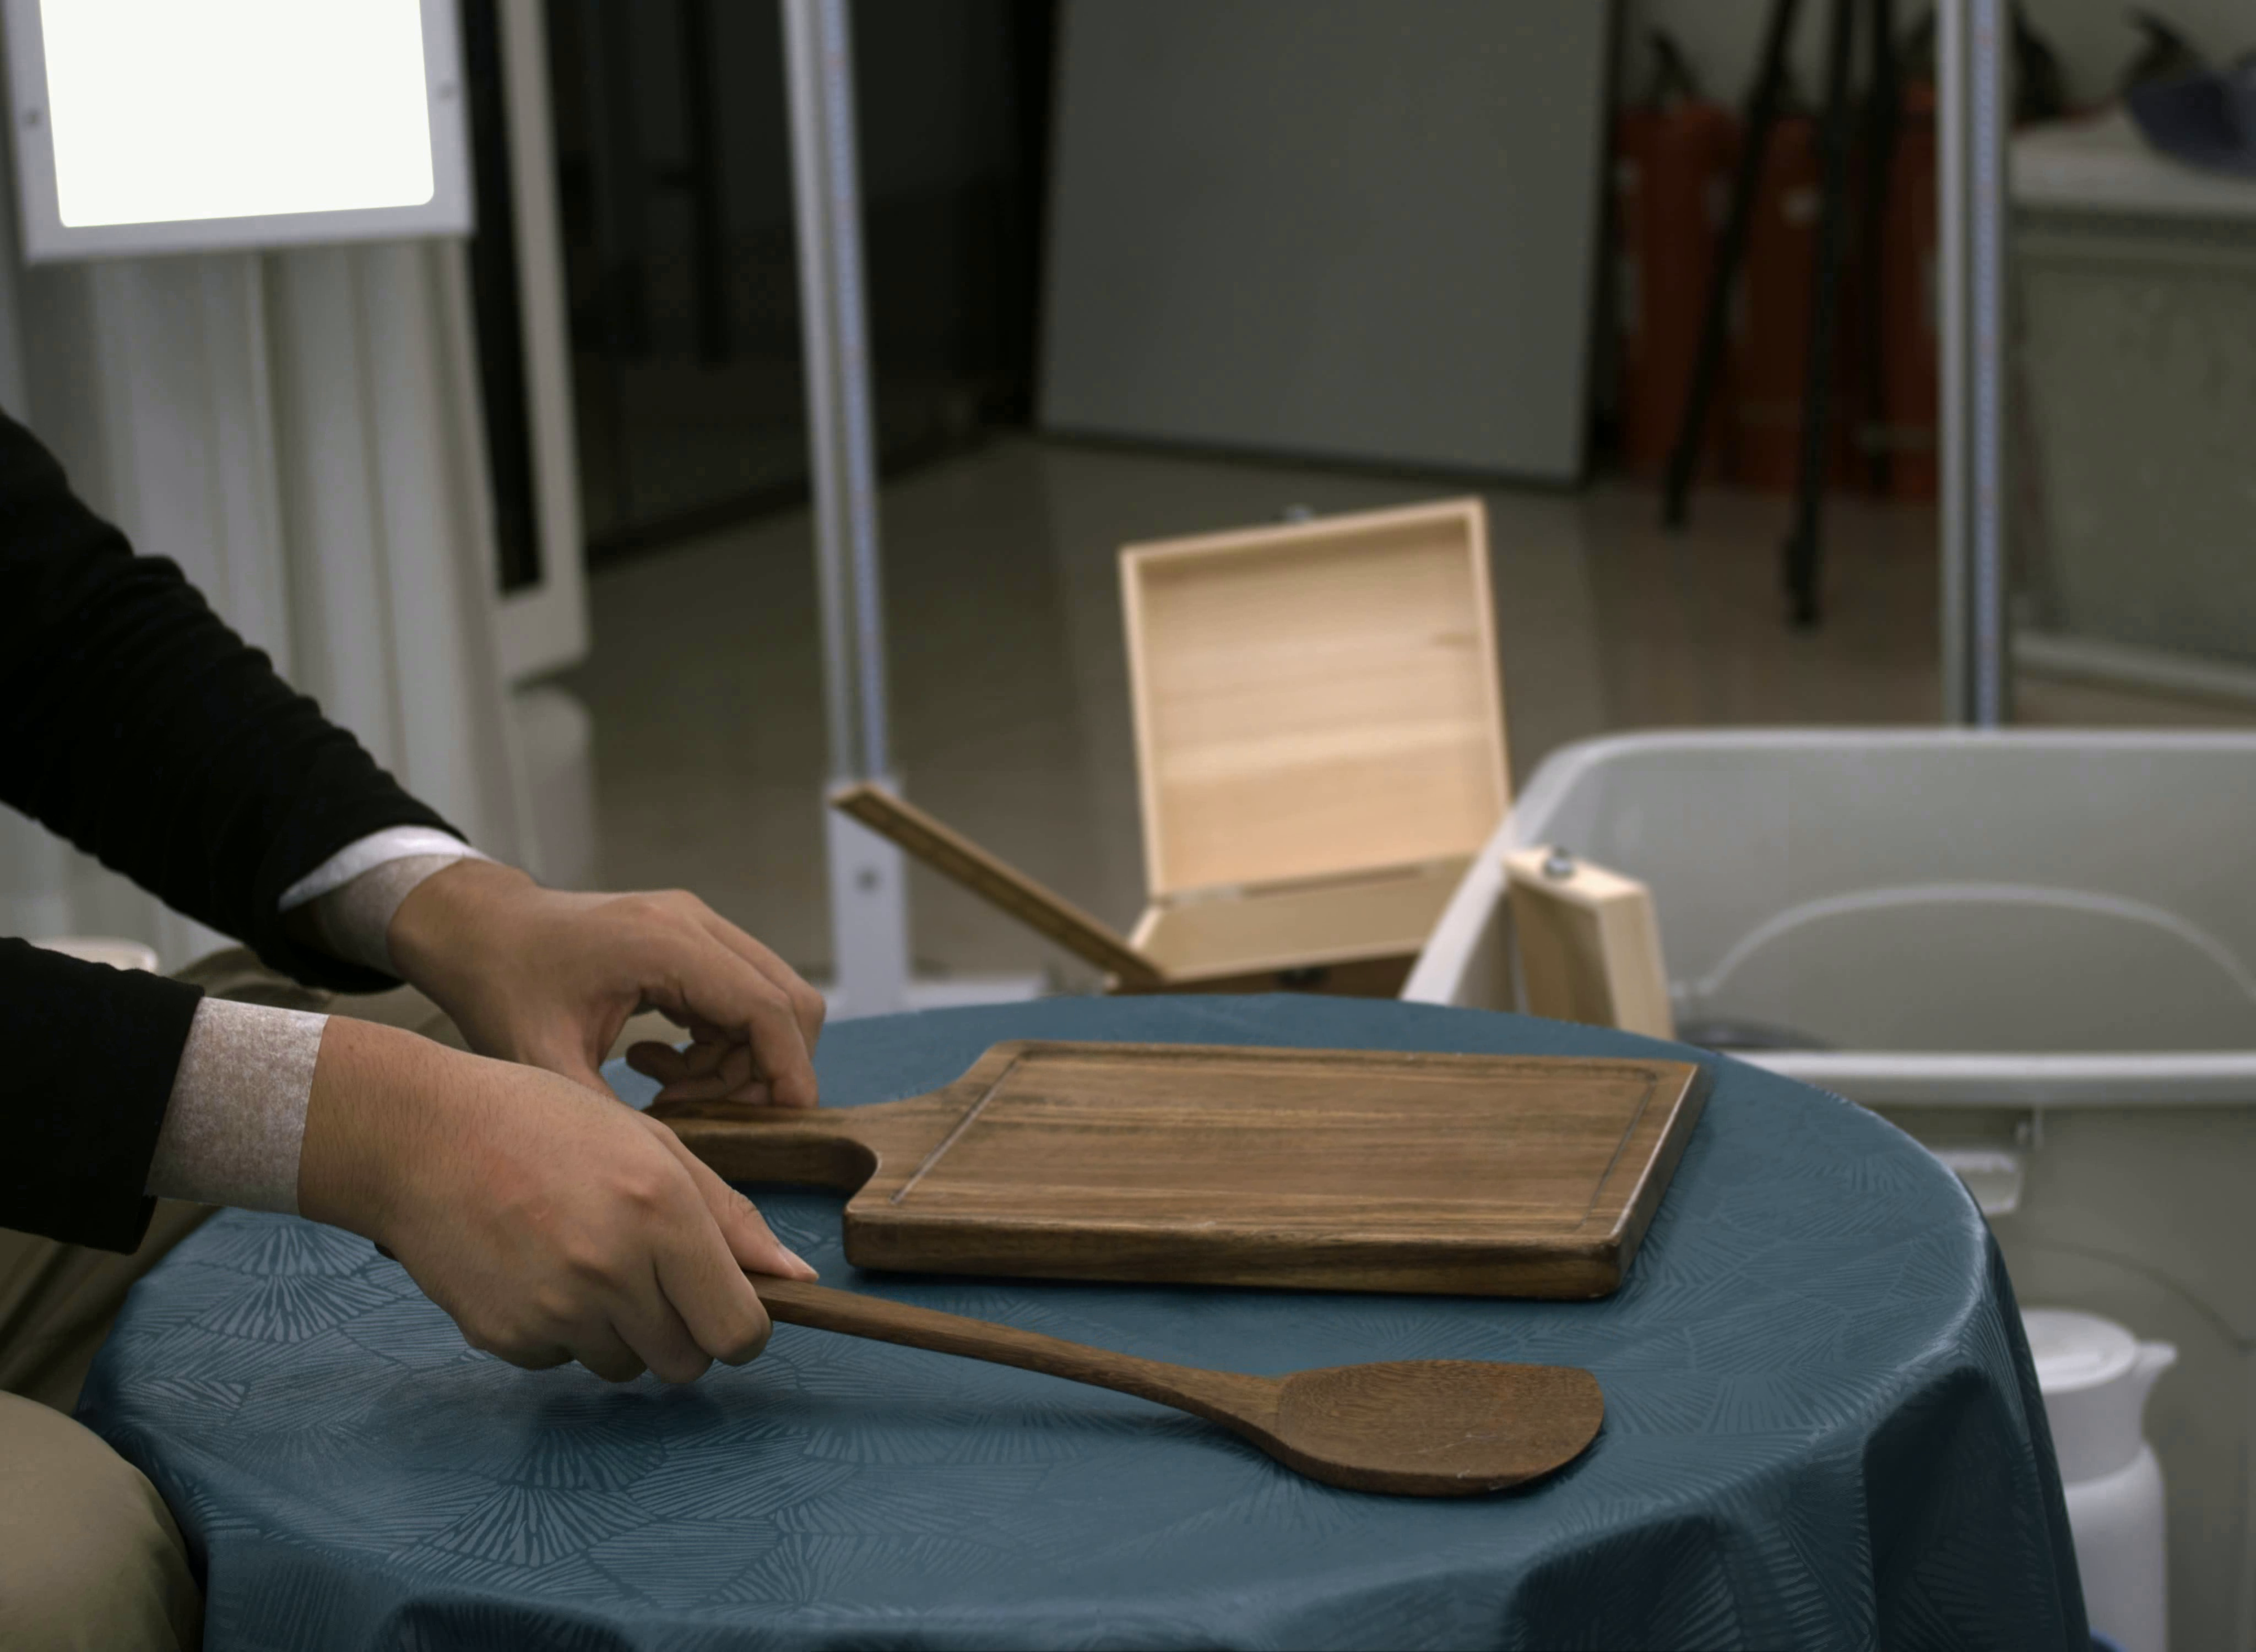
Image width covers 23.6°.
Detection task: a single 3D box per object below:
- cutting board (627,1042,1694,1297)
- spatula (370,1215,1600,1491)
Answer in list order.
[{"bbox_3d":[0.003,0.108,1.765,0.350,0.023,0.199,1,14,15],"label":"cutting board"},{"bbox_3d":[-0.049,0.149,1.576,0.385,0.016,0.095,9,17,20],"label":"spatula"}]
